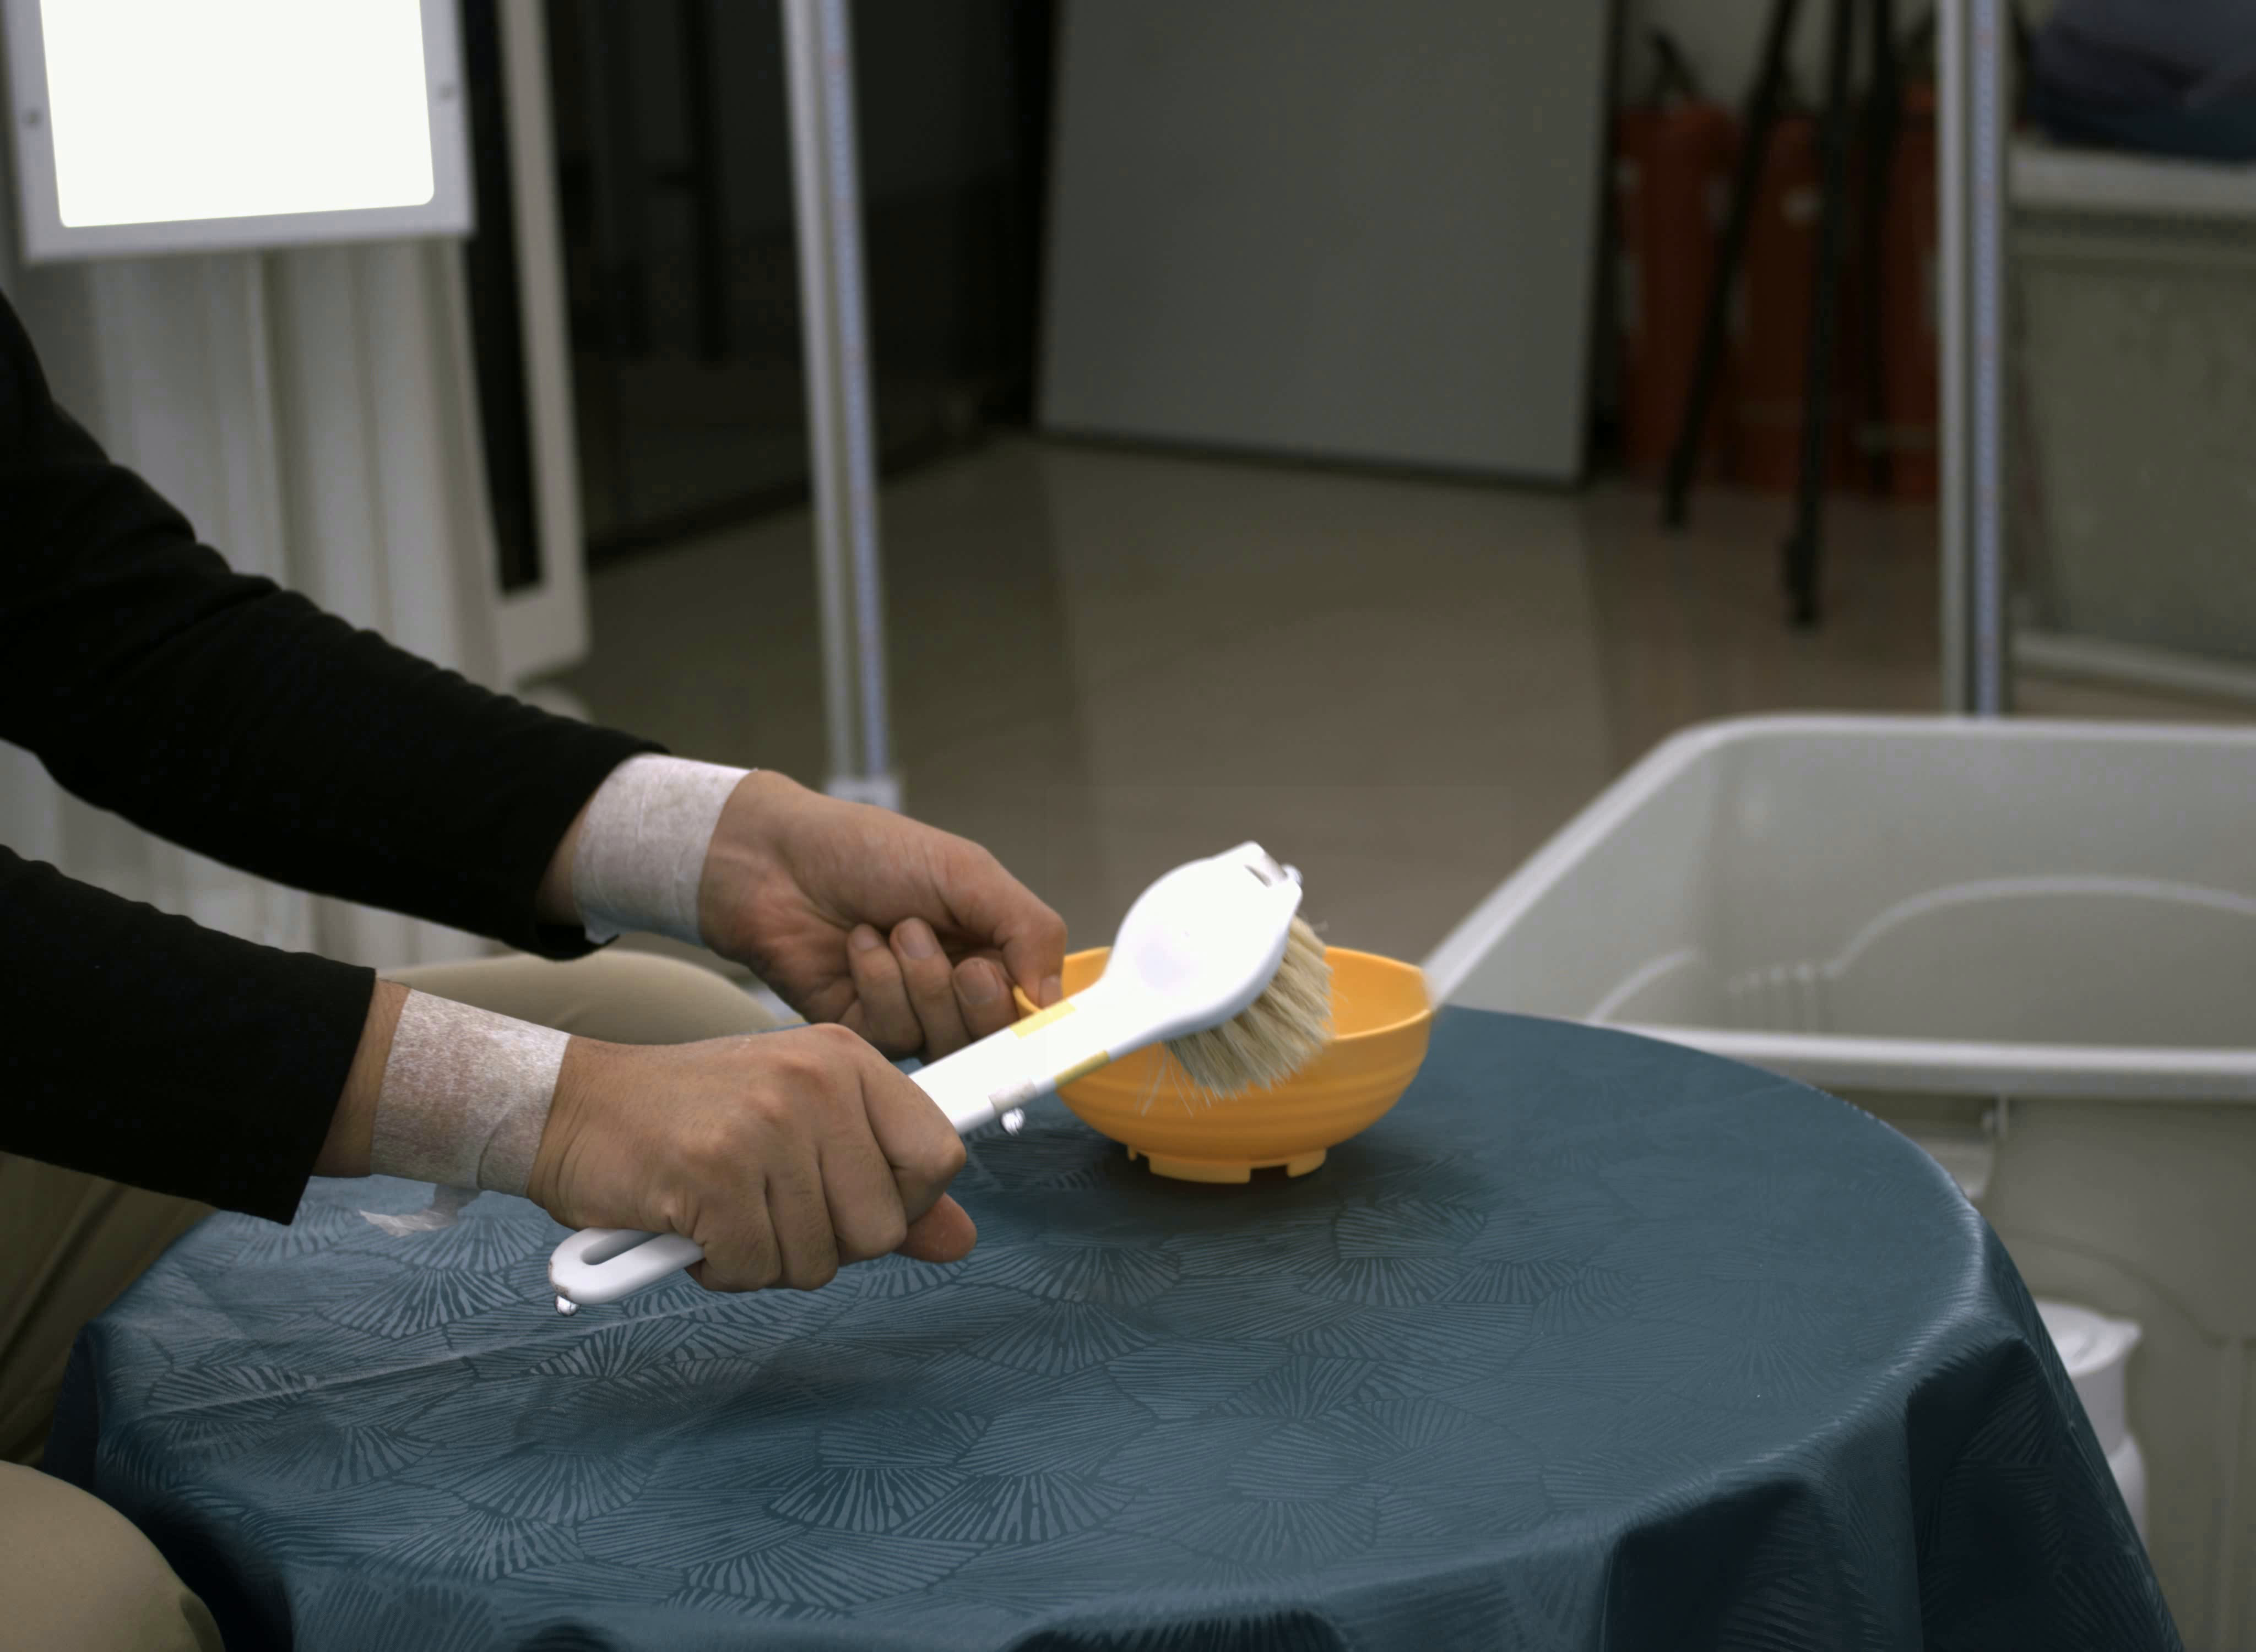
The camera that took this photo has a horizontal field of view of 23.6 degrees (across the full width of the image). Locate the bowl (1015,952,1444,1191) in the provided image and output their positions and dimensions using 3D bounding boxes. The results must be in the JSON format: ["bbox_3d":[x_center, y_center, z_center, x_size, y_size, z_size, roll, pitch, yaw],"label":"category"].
[{"bbox_3d":[0.034,0.084,1.782,0.143,0.061,0.145,-2,10,0],"label":"bowl"}]

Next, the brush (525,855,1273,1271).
[{"bbox_3d":[-0.066,0.089,1.646,0.262,0.056,0.069,-29,31,-26],"label":"brush"}]
